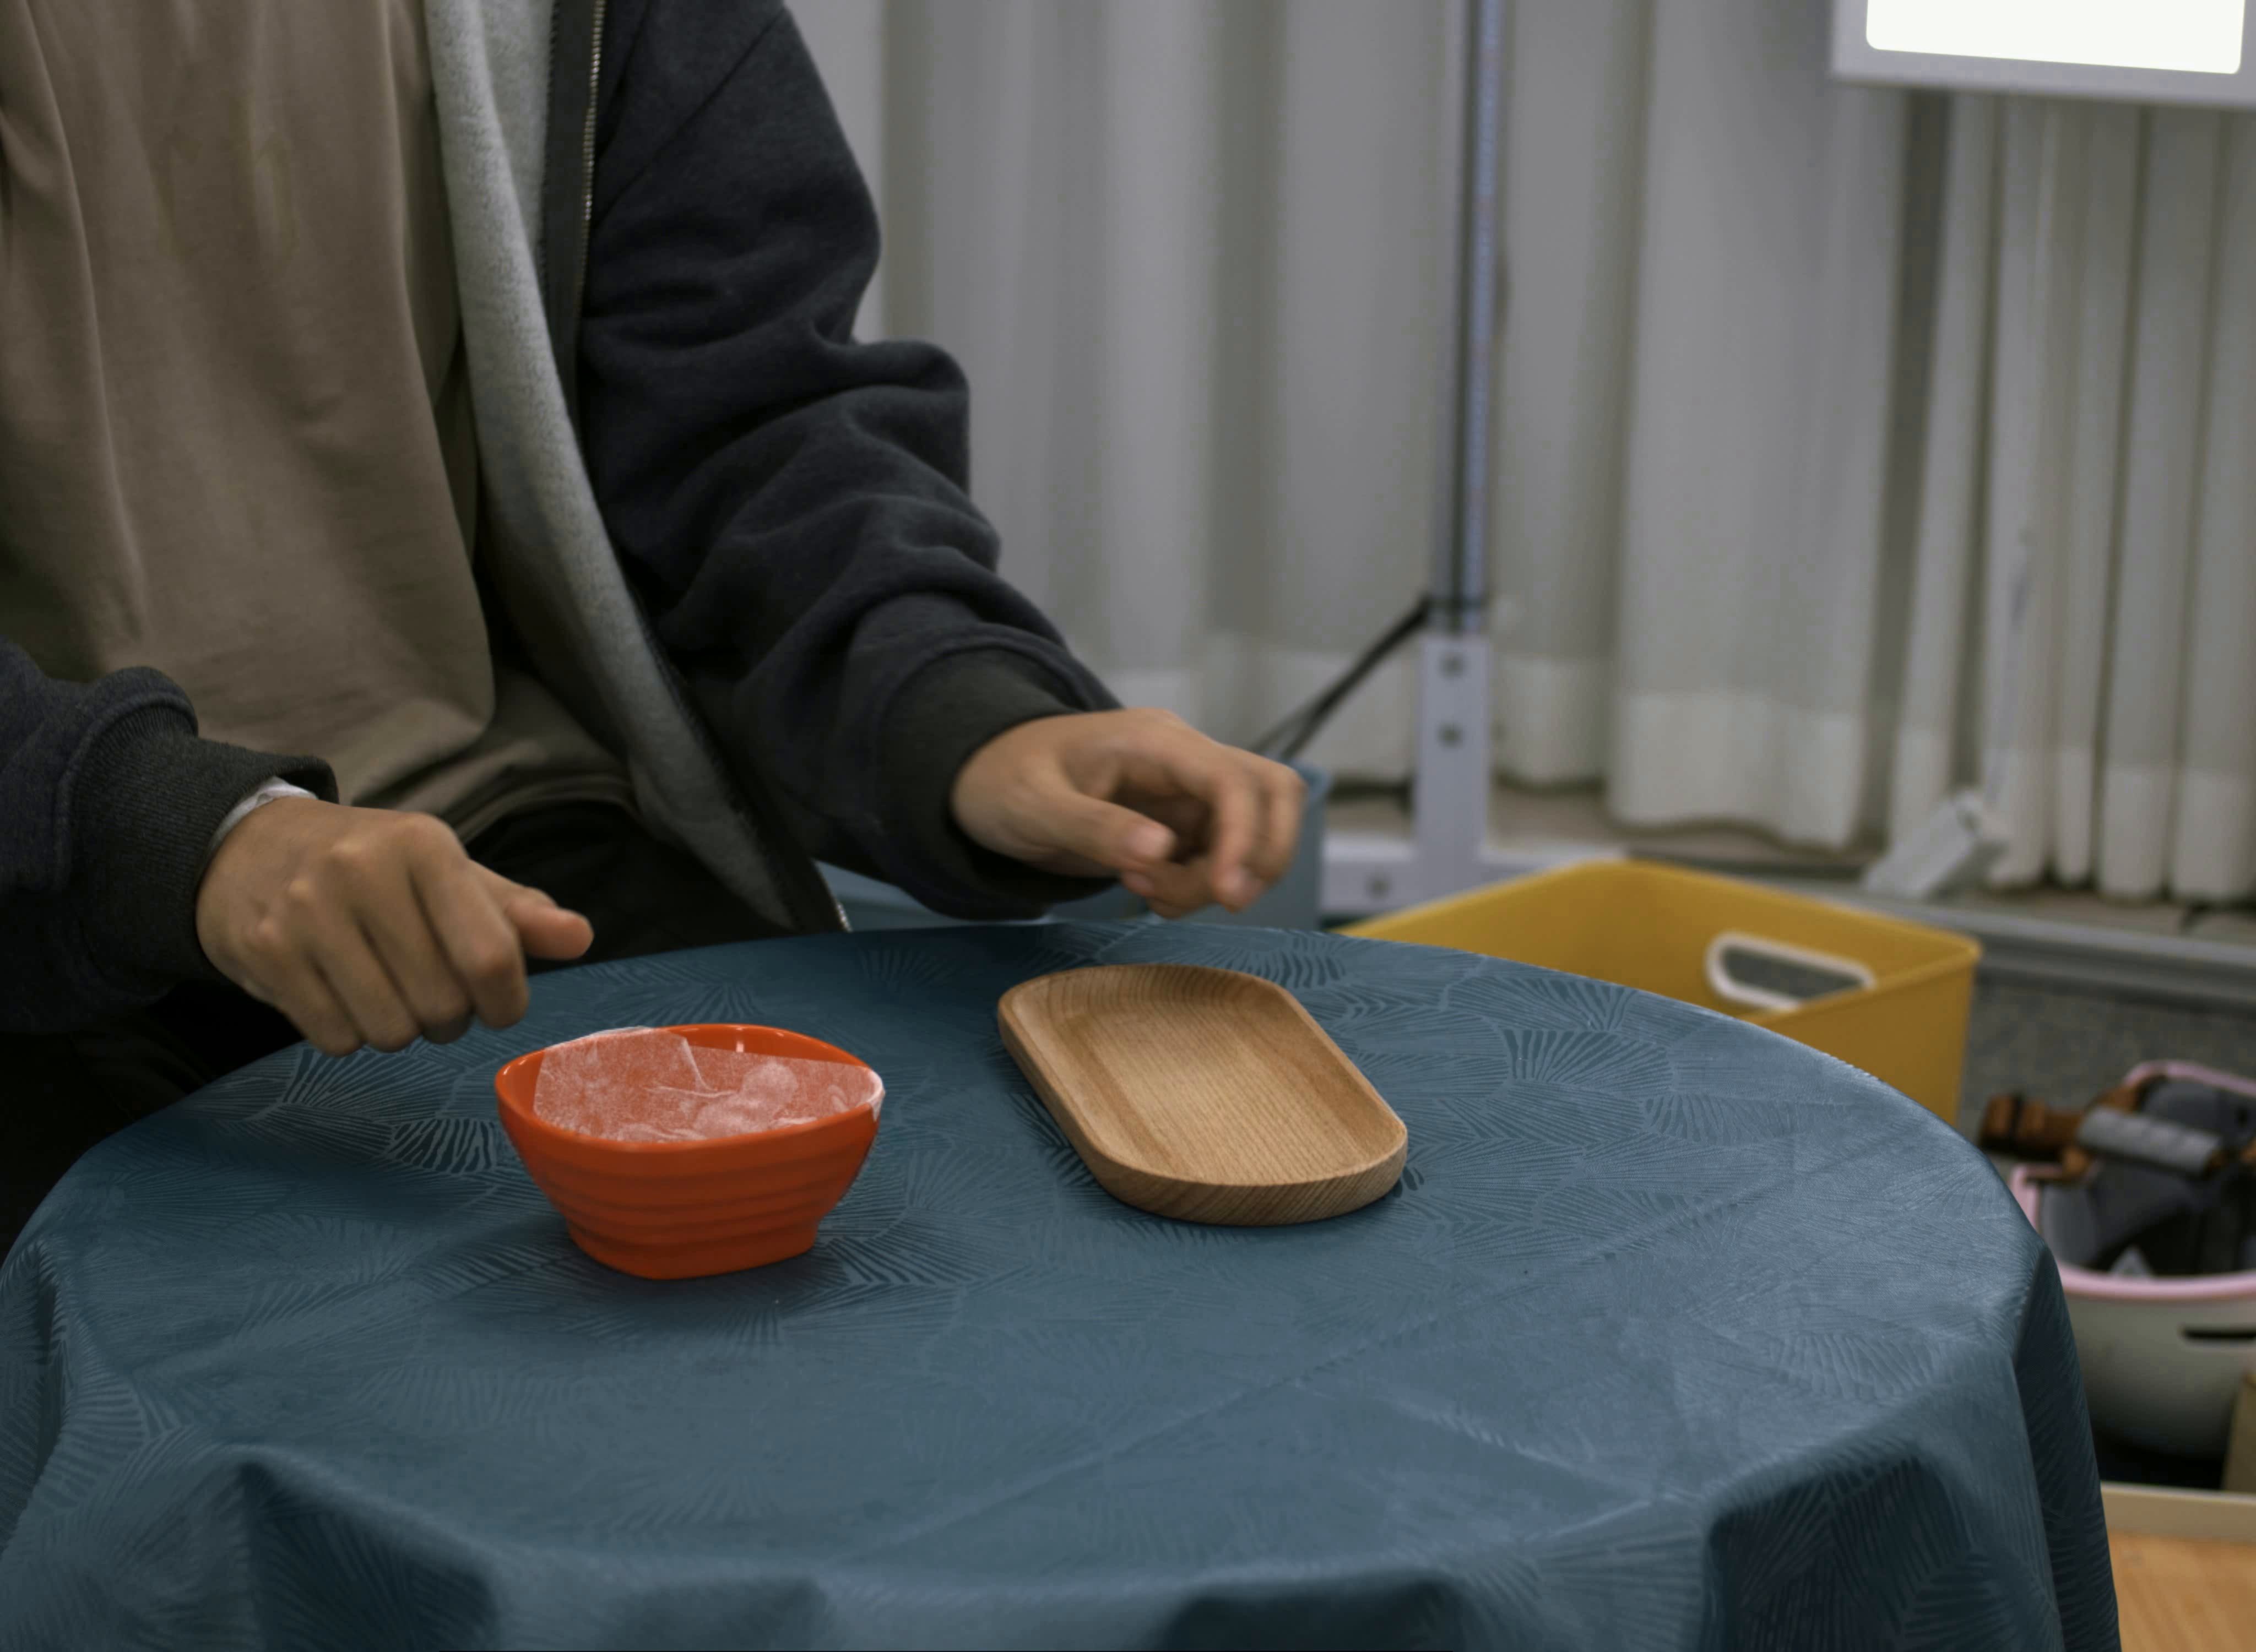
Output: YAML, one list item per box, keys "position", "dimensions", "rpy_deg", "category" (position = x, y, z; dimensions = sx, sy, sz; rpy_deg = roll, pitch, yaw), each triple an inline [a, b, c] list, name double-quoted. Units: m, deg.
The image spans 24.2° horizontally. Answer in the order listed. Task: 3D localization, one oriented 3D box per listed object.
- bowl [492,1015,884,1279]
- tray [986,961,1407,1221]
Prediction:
- position: [-0.131, 0.098, 1.571]
  dimensions: [0.118, 0.052, 0.118]
  rpy_deg: [0, 17, 0]
  category: "bowl"
- position: [0.020, 0.083, 1.698]
  dimensions: [0.102, 0.020, 0.229]
  rpy_deg: [-3, 15, -15]
  category: "tray"
